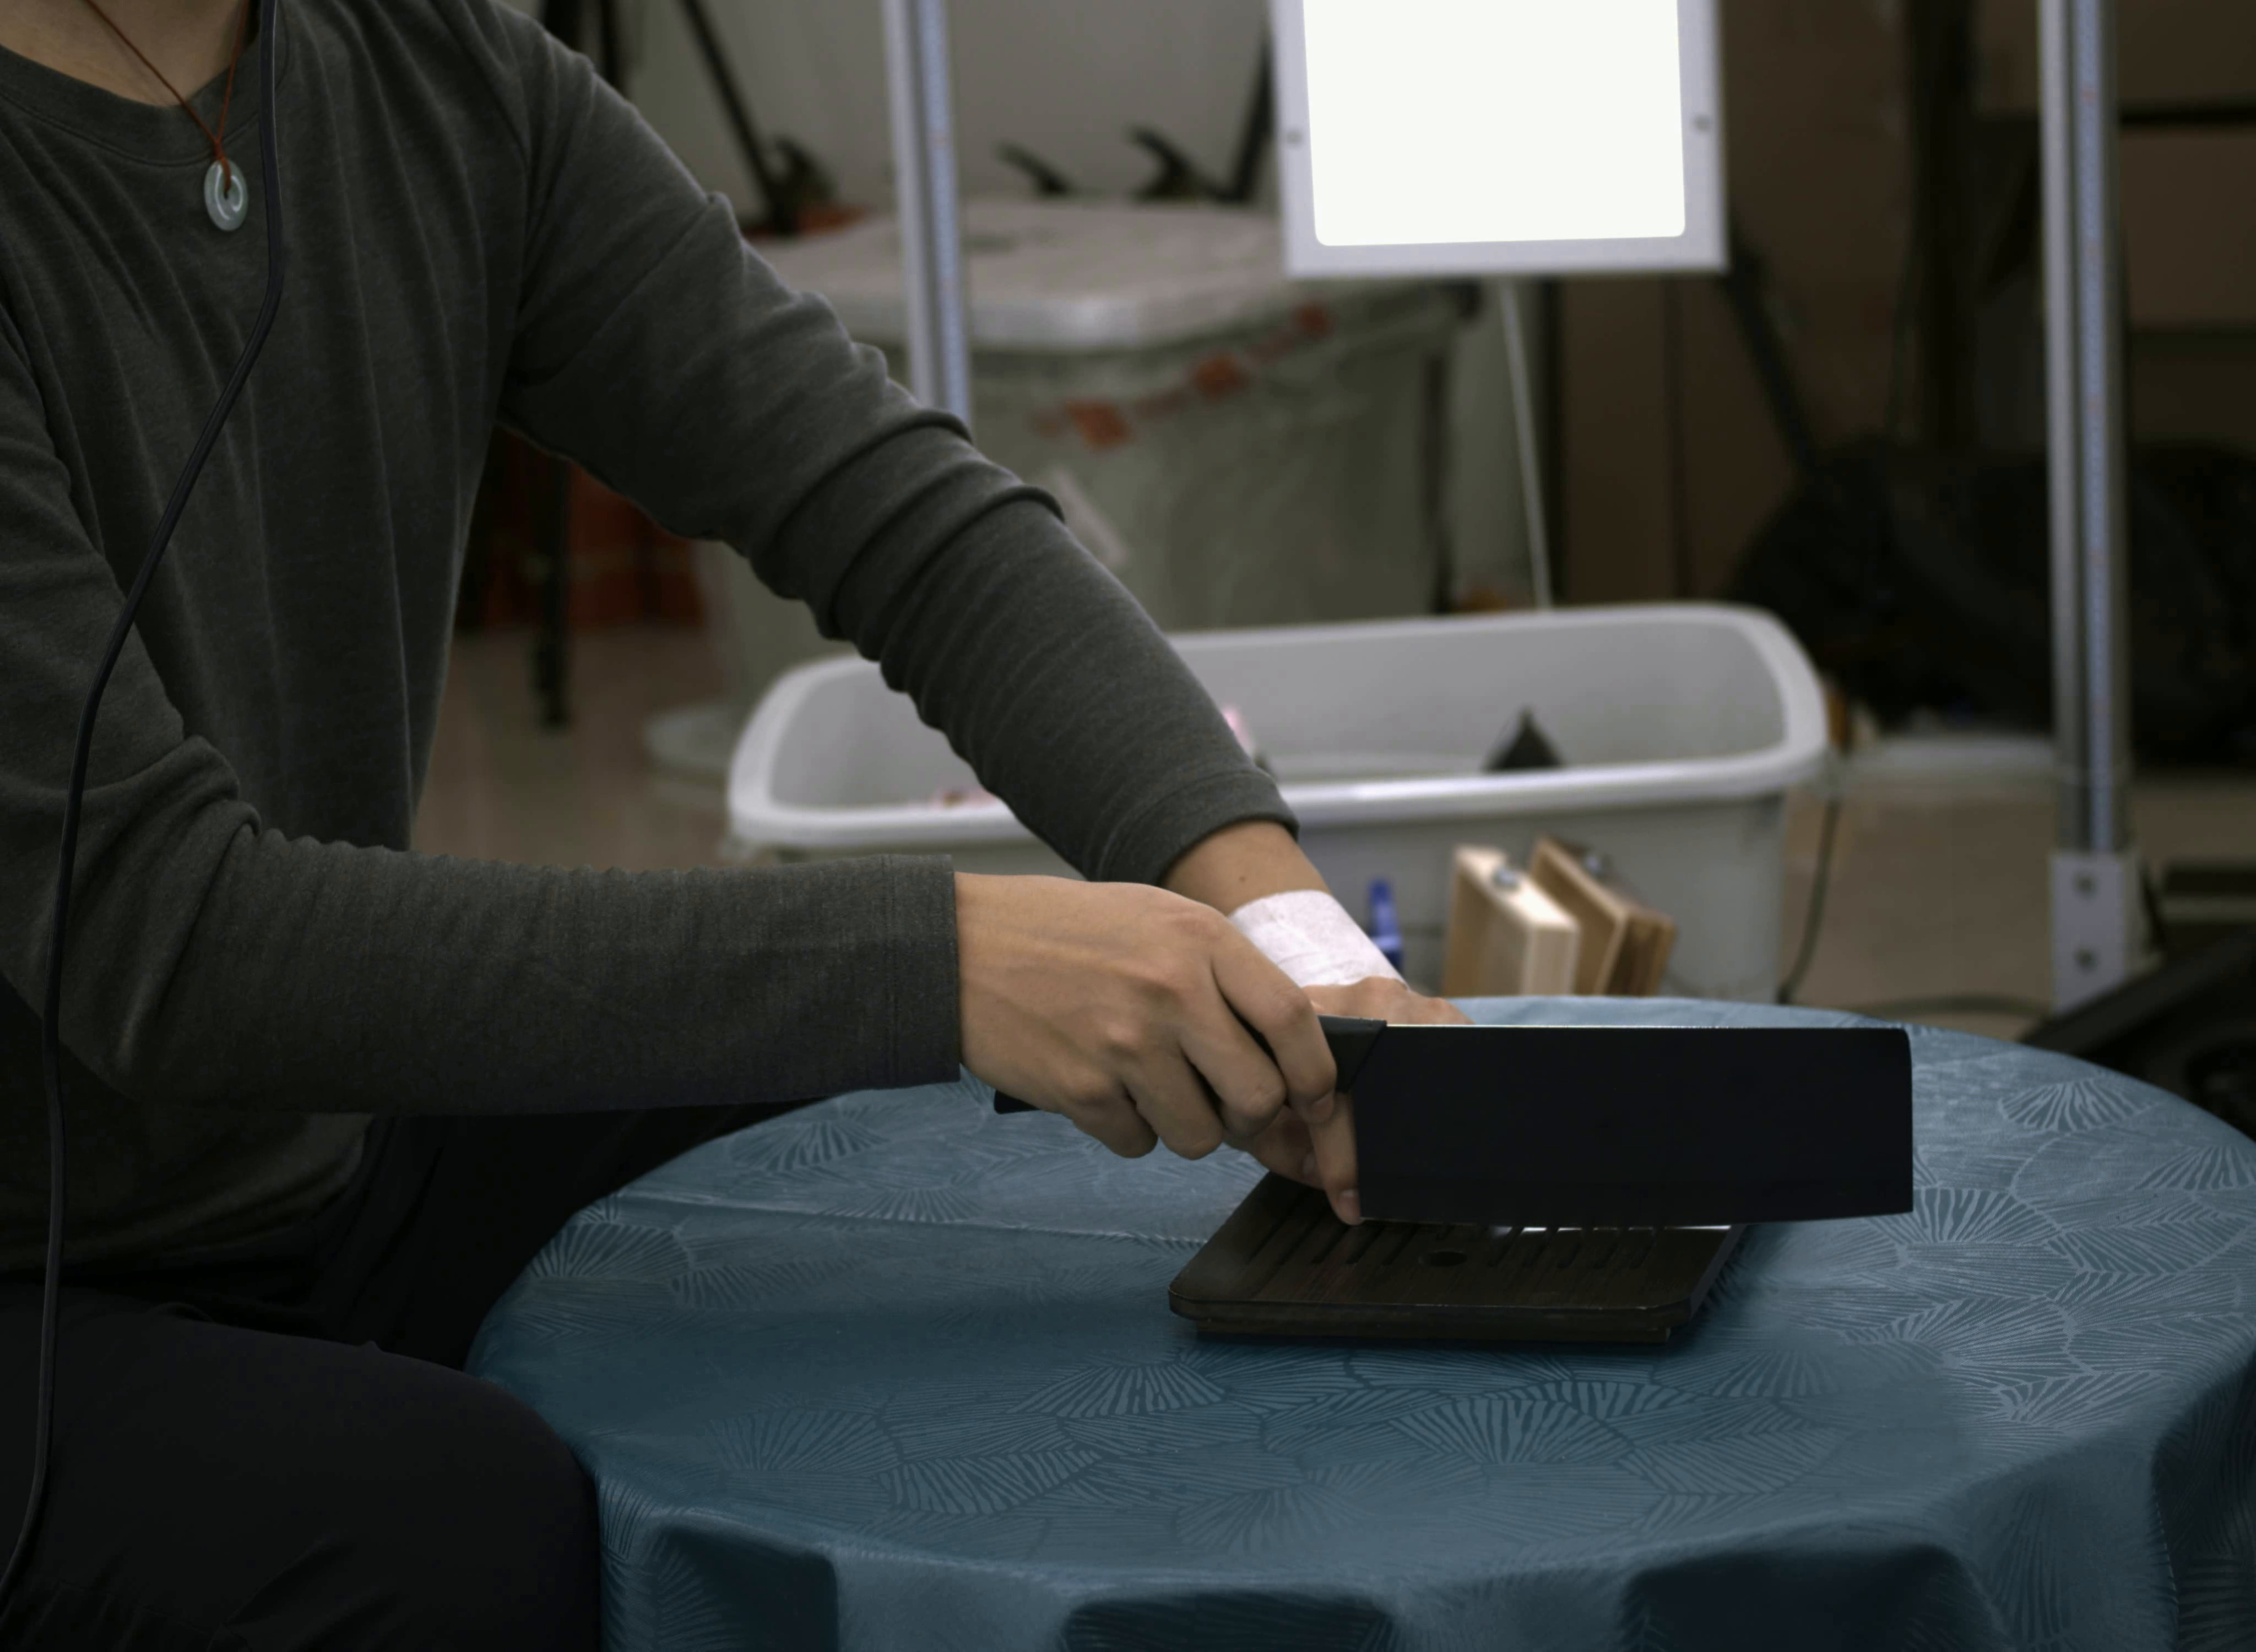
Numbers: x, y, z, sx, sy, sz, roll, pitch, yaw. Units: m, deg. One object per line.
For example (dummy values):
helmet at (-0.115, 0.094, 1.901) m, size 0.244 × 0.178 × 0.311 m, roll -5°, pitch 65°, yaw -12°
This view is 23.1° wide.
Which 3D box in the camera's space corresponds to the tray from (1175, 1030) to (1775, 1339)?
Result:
tray at (0.137, 0.118, 1.848) m, size 0.172 × 0.019 × 0.301 m, roll -1°, pitch 14°, yaw 19°

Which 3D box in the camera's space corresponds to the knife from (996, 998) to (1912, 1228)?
knife at (0.104, 0.091, 1.772) m, size 0.305 × 0.081 × 0.020 m, roll 4°, pitch 10°, yaw 16°
